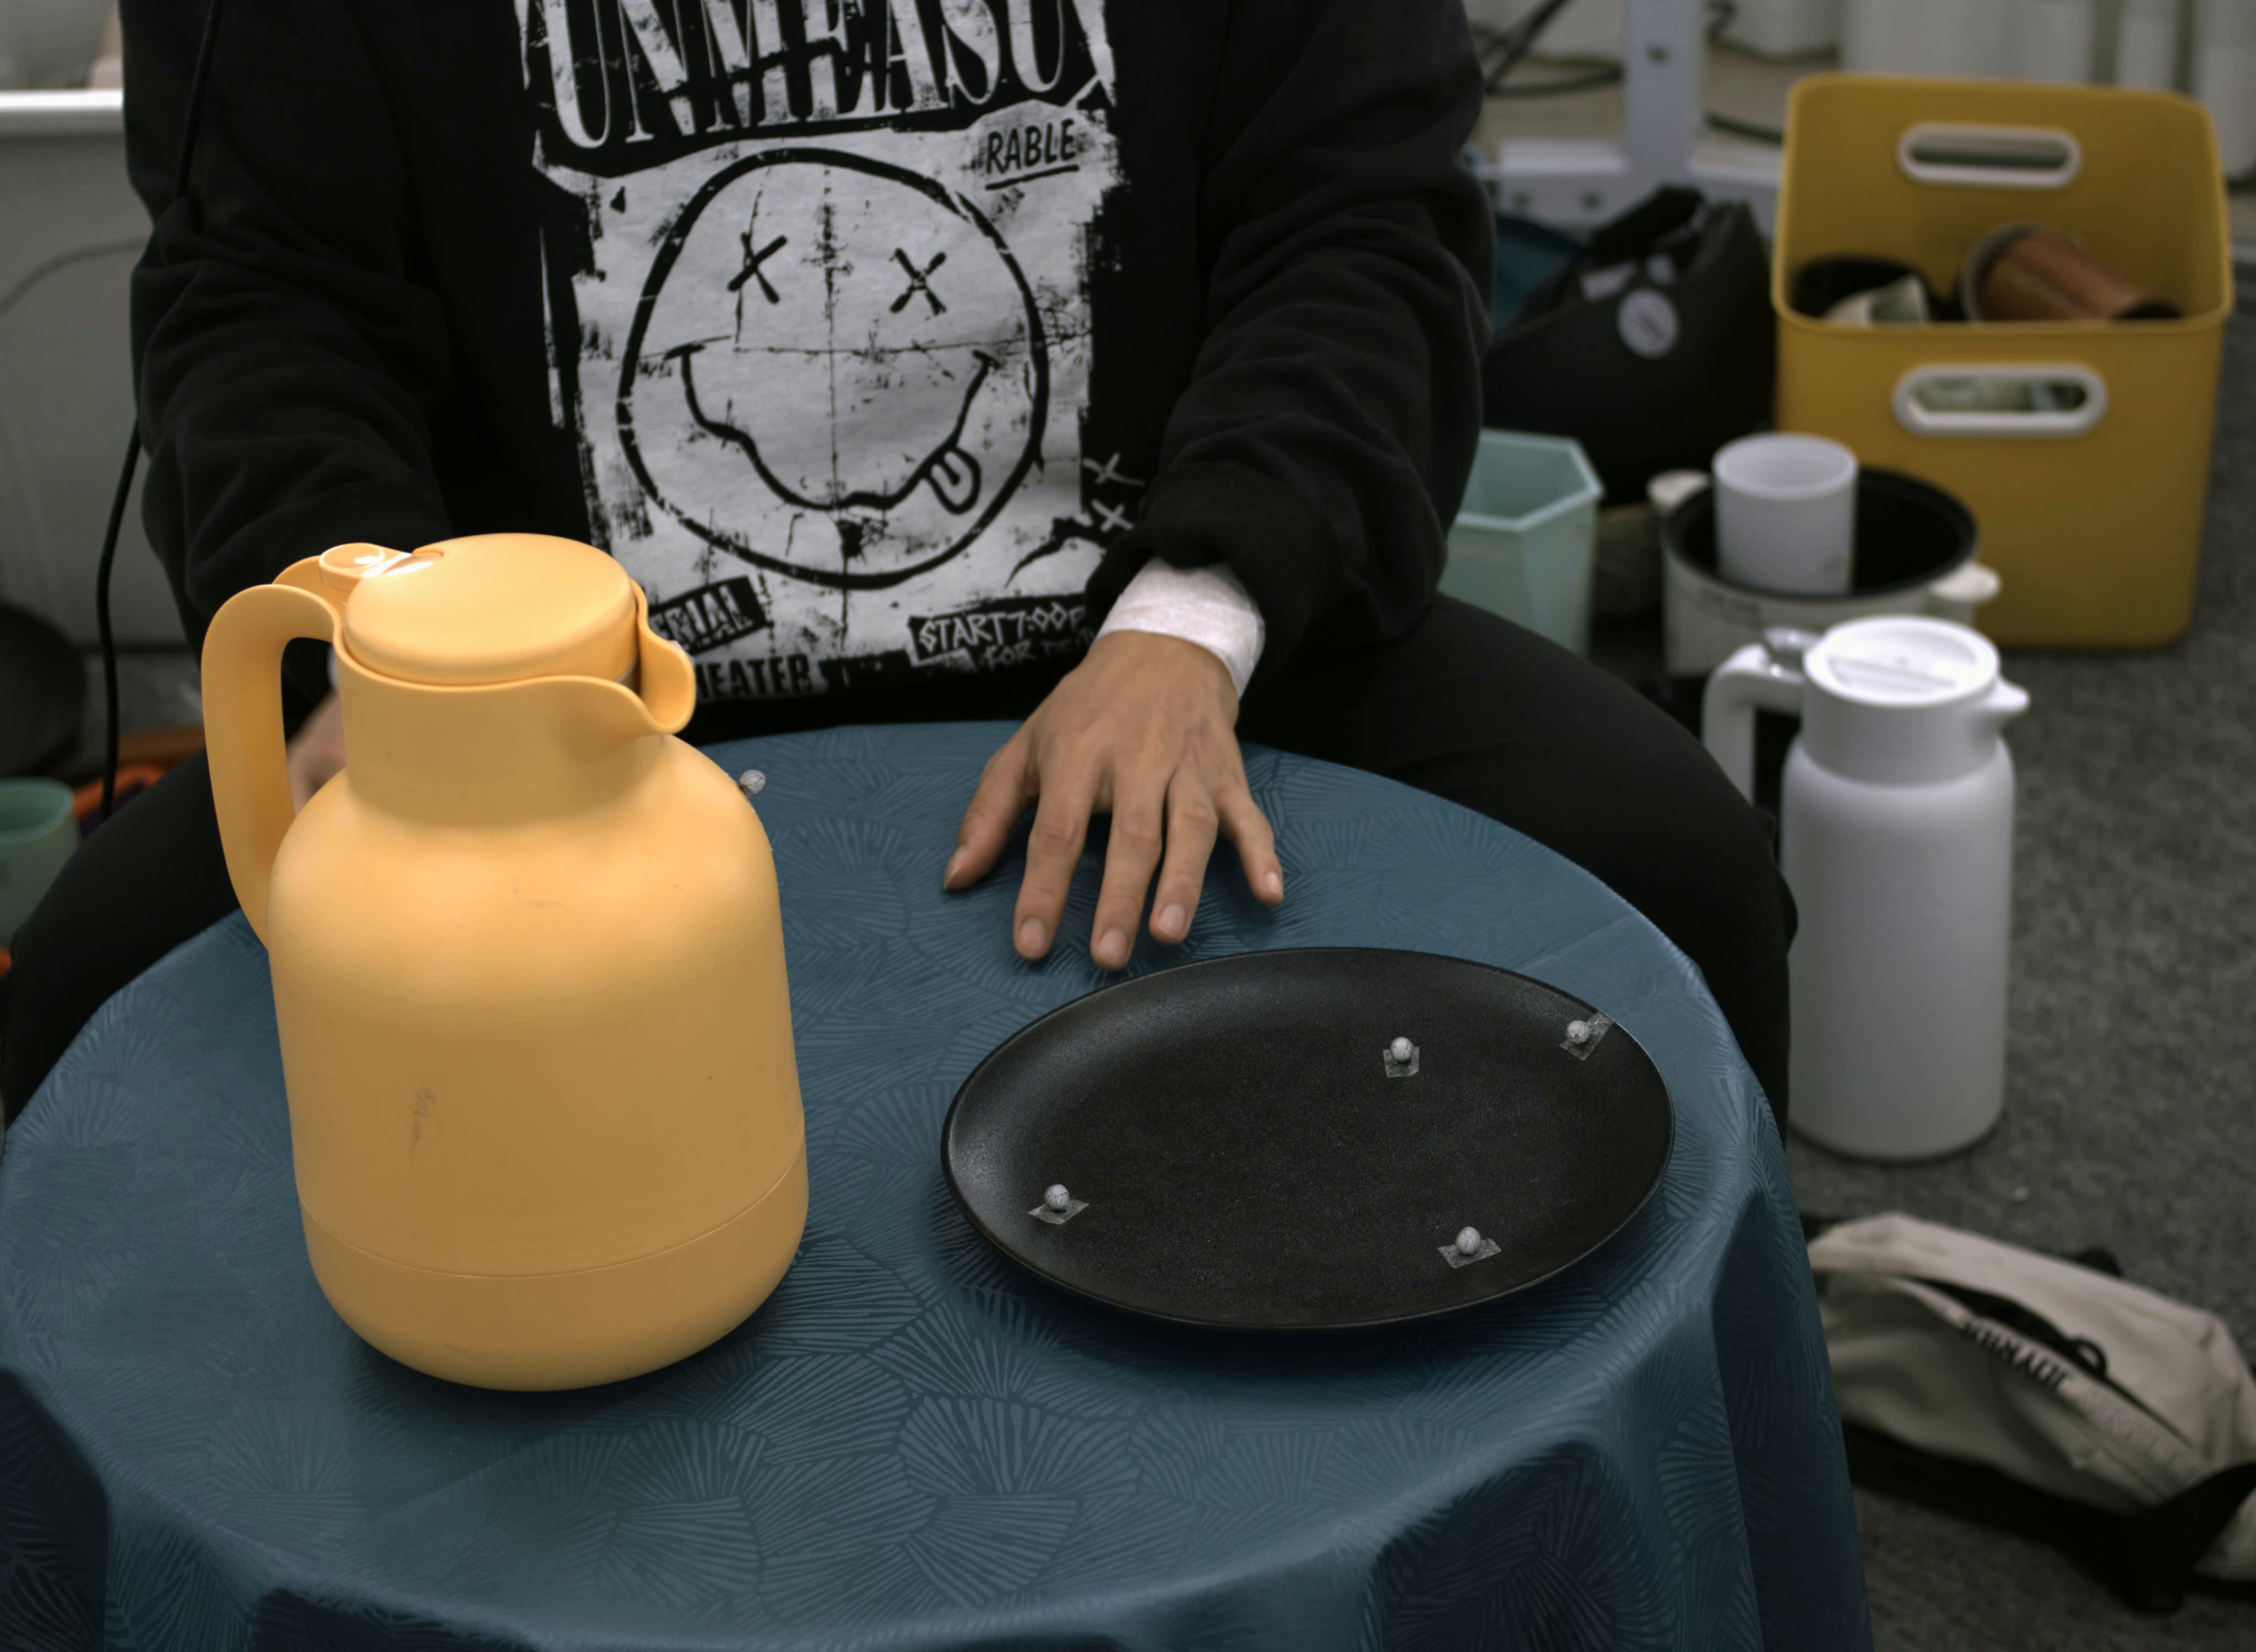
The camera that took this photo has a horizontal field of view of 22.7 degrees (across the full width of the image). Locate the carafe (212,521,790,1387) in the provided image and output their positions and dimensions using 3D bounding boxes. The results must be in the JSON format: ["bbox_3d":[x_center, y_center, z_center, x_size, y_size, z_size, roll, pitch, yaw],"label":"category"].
[{"bbox_3d":[-0.204,0.030,1.773,0.202,0.258,0.165,19,31,34],"label":"carafe"}]

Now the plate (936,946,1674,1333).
[{"bbox_3d":[0.058,0.108,1.854,0.243,0.023,0.248,-2,27,1],"label":"plate"}]
